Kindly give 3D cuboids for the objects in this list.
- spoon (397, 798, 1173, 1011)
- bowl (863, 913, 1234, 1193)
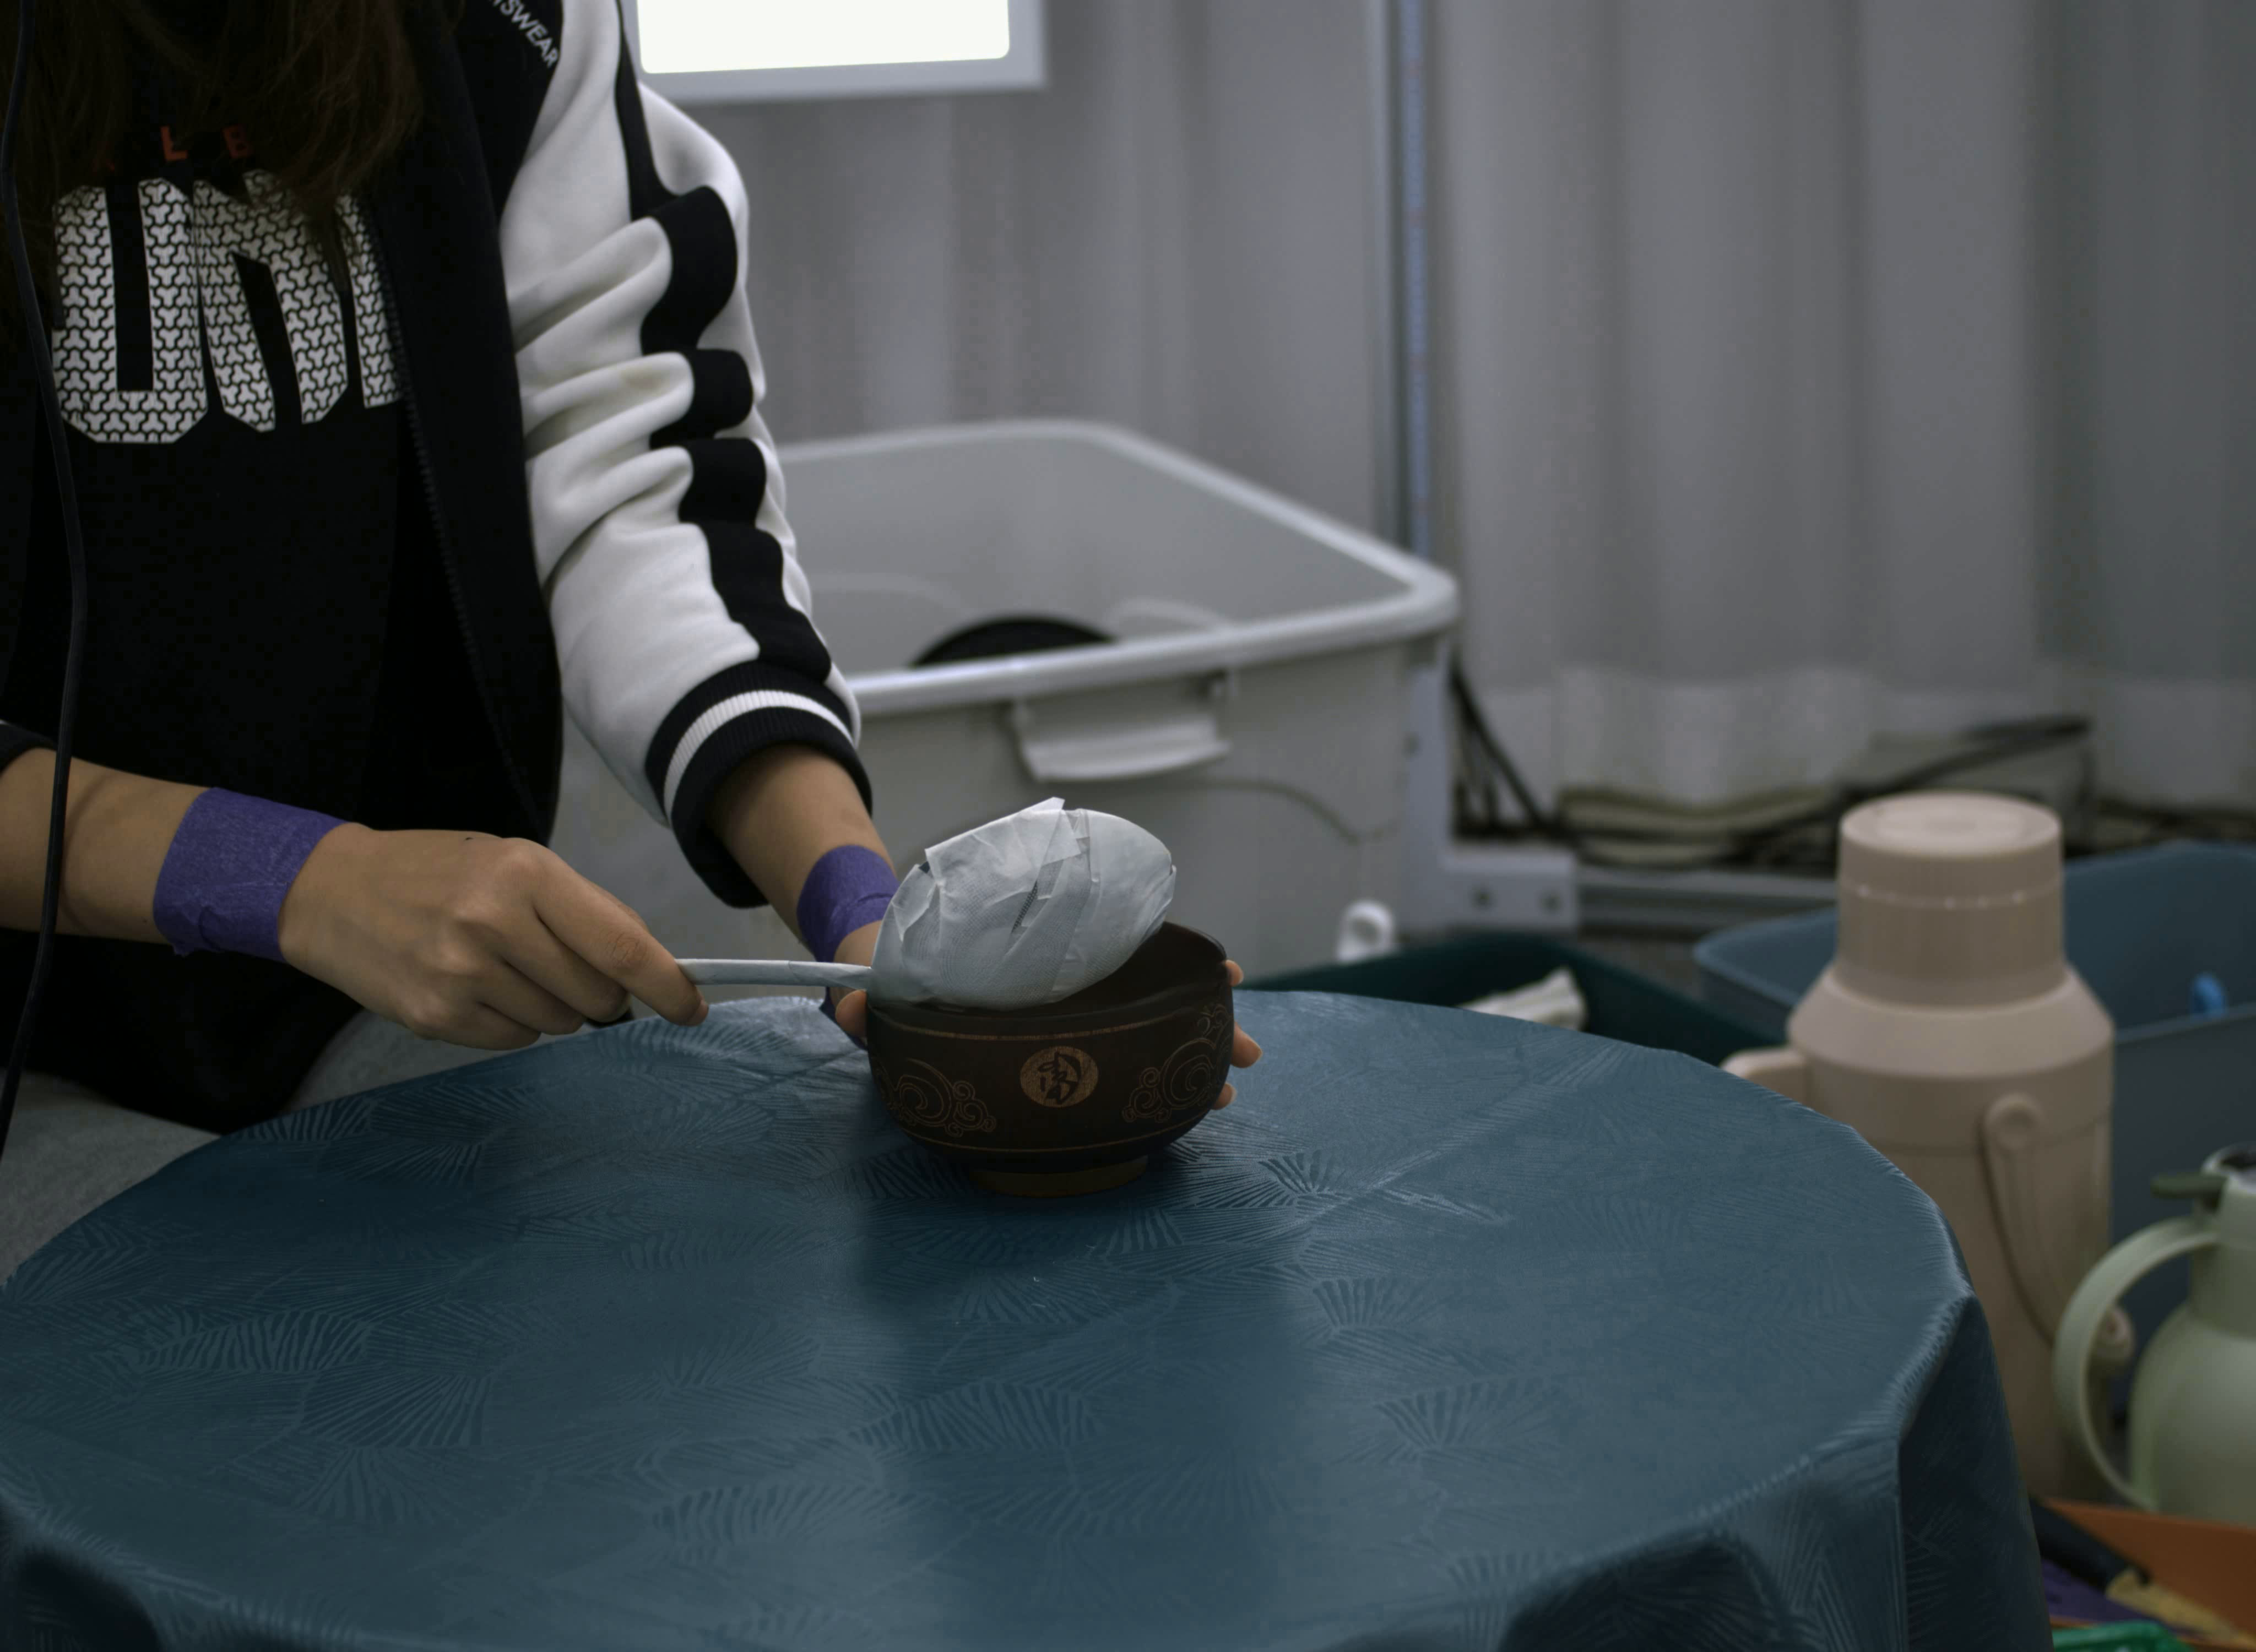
[{"bbox_3d":[-0.113,0.030,1.736,0.278,0.099,0.060,-1,56,33],"label":"spoon"},{"bbox_3d":[-0.024,0.074,1.730,0.117,0.069,0.119,-3,15,0],"label":"bowl"}]
